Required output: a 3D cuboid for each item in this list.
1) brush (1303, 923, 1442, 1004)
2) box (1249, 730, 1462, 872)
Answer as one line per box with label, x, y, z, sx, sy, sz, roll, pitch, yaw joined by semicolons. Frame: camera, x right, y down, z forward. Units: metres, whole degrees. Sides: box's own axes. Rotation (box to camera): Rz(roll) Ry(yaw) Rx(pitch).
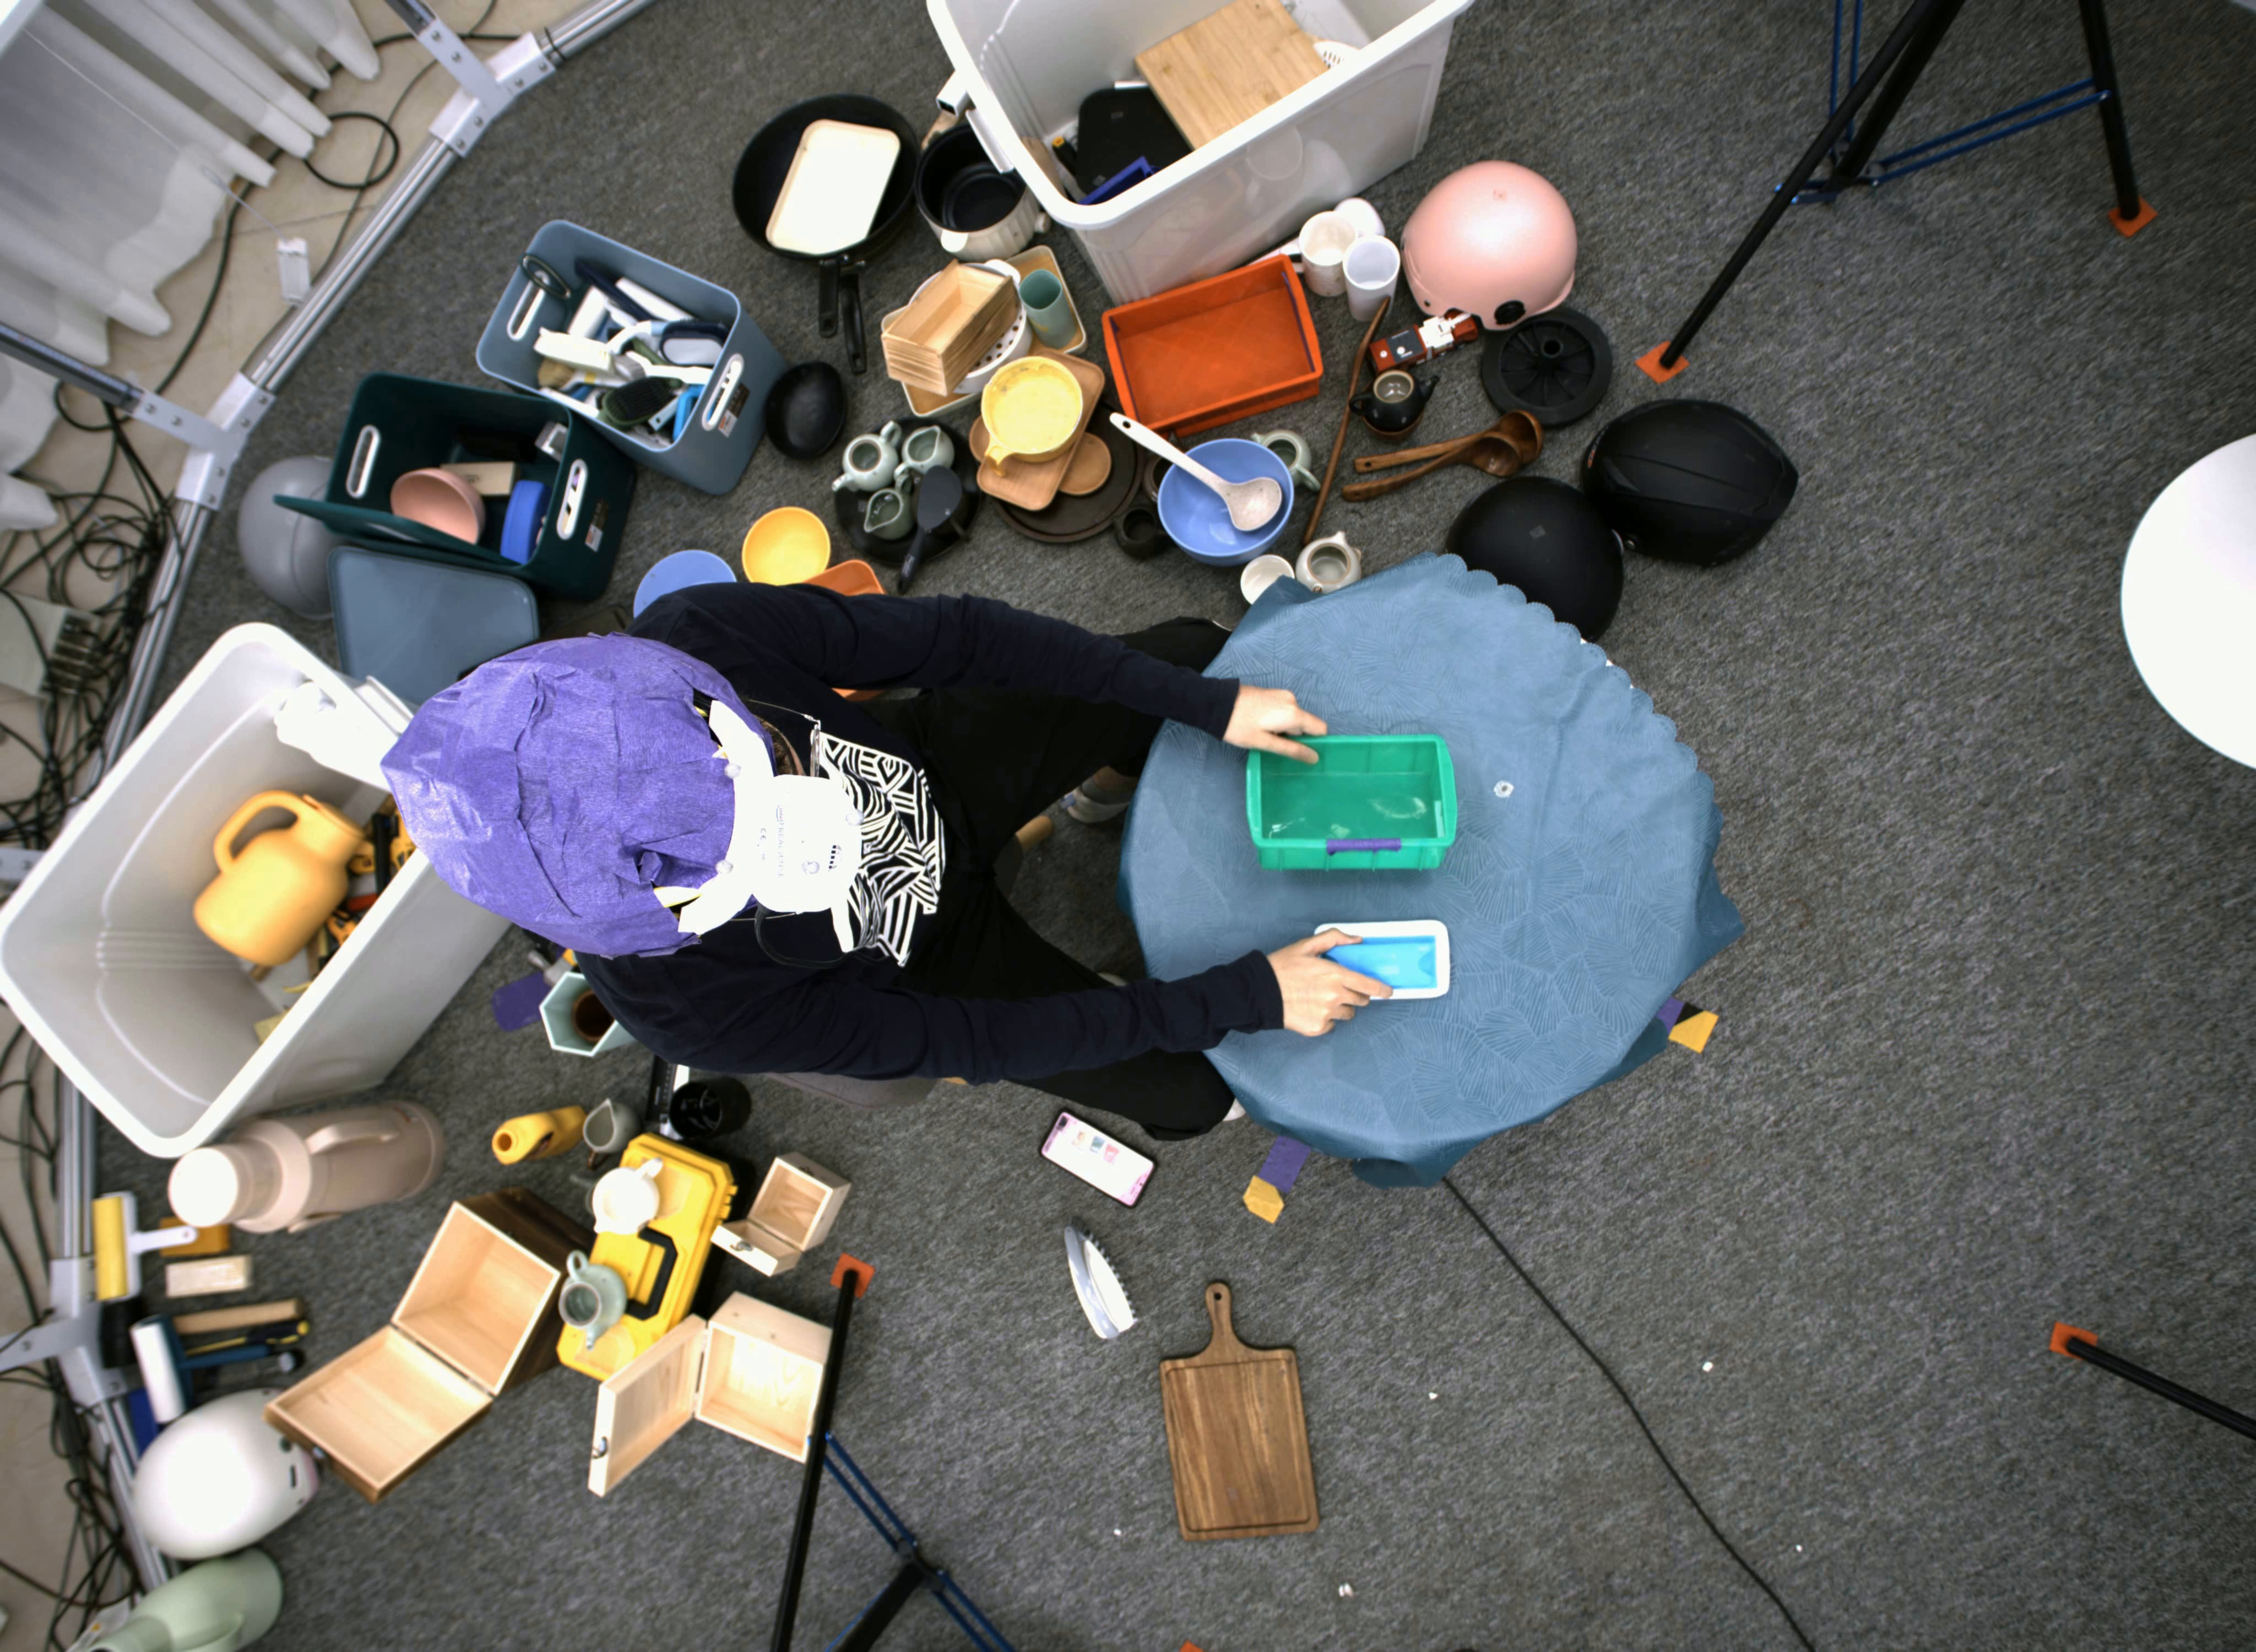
brush;0.254;0.140;1.420;0.144;0.056;0.084;-2;91;1
box;0.230;-0.023;1.409;0.211;0.066;0.135;-2;60;6
